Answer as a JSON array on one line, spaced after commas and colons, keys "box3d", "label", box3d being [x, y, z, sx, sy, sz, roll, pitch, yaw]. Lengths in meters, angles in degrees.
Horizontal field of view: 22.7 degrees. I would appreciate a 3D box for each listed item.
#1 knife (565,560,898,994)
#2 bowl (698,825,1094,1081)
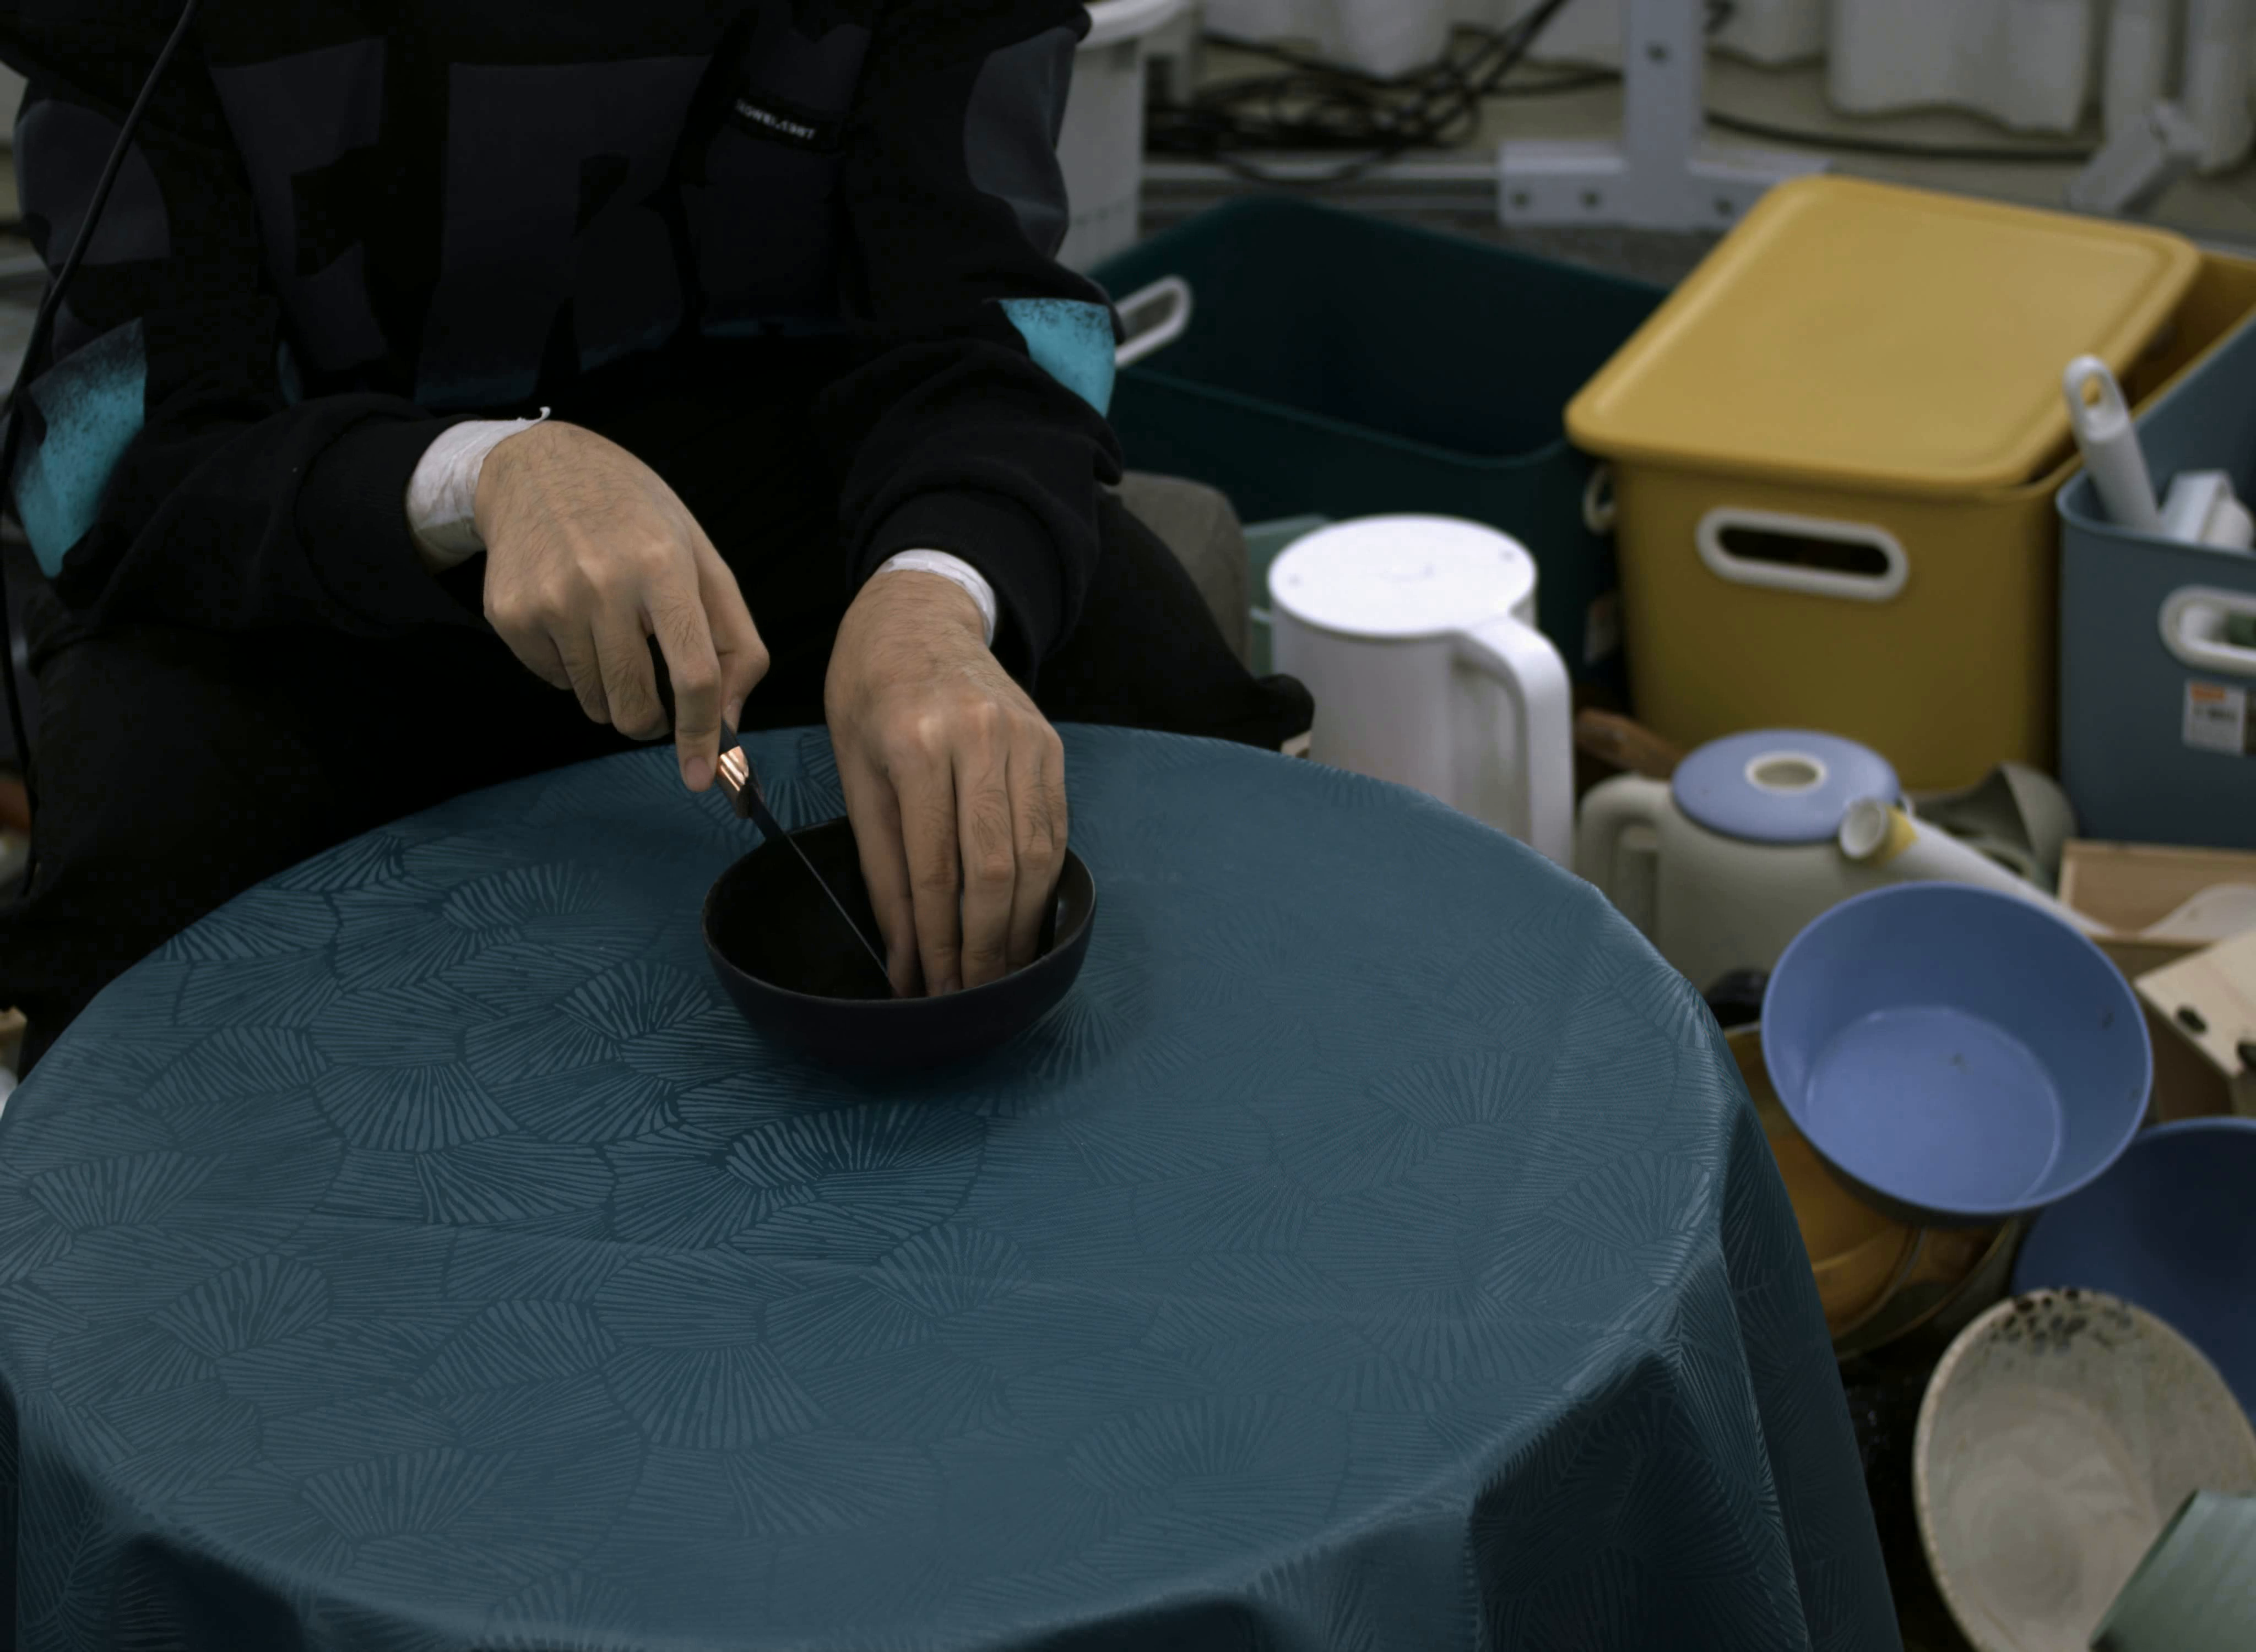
[{"box3d": [-0.132, -0.006, 1.982, 0.017, 0.026, 0.227, -29, 70, -26], "label": "knife"}, {"box3d": [-0.078, 0.051, 1.959, 0.139, 0.049, 0.142, -5, 24, 3], "label": "bowl"}]
